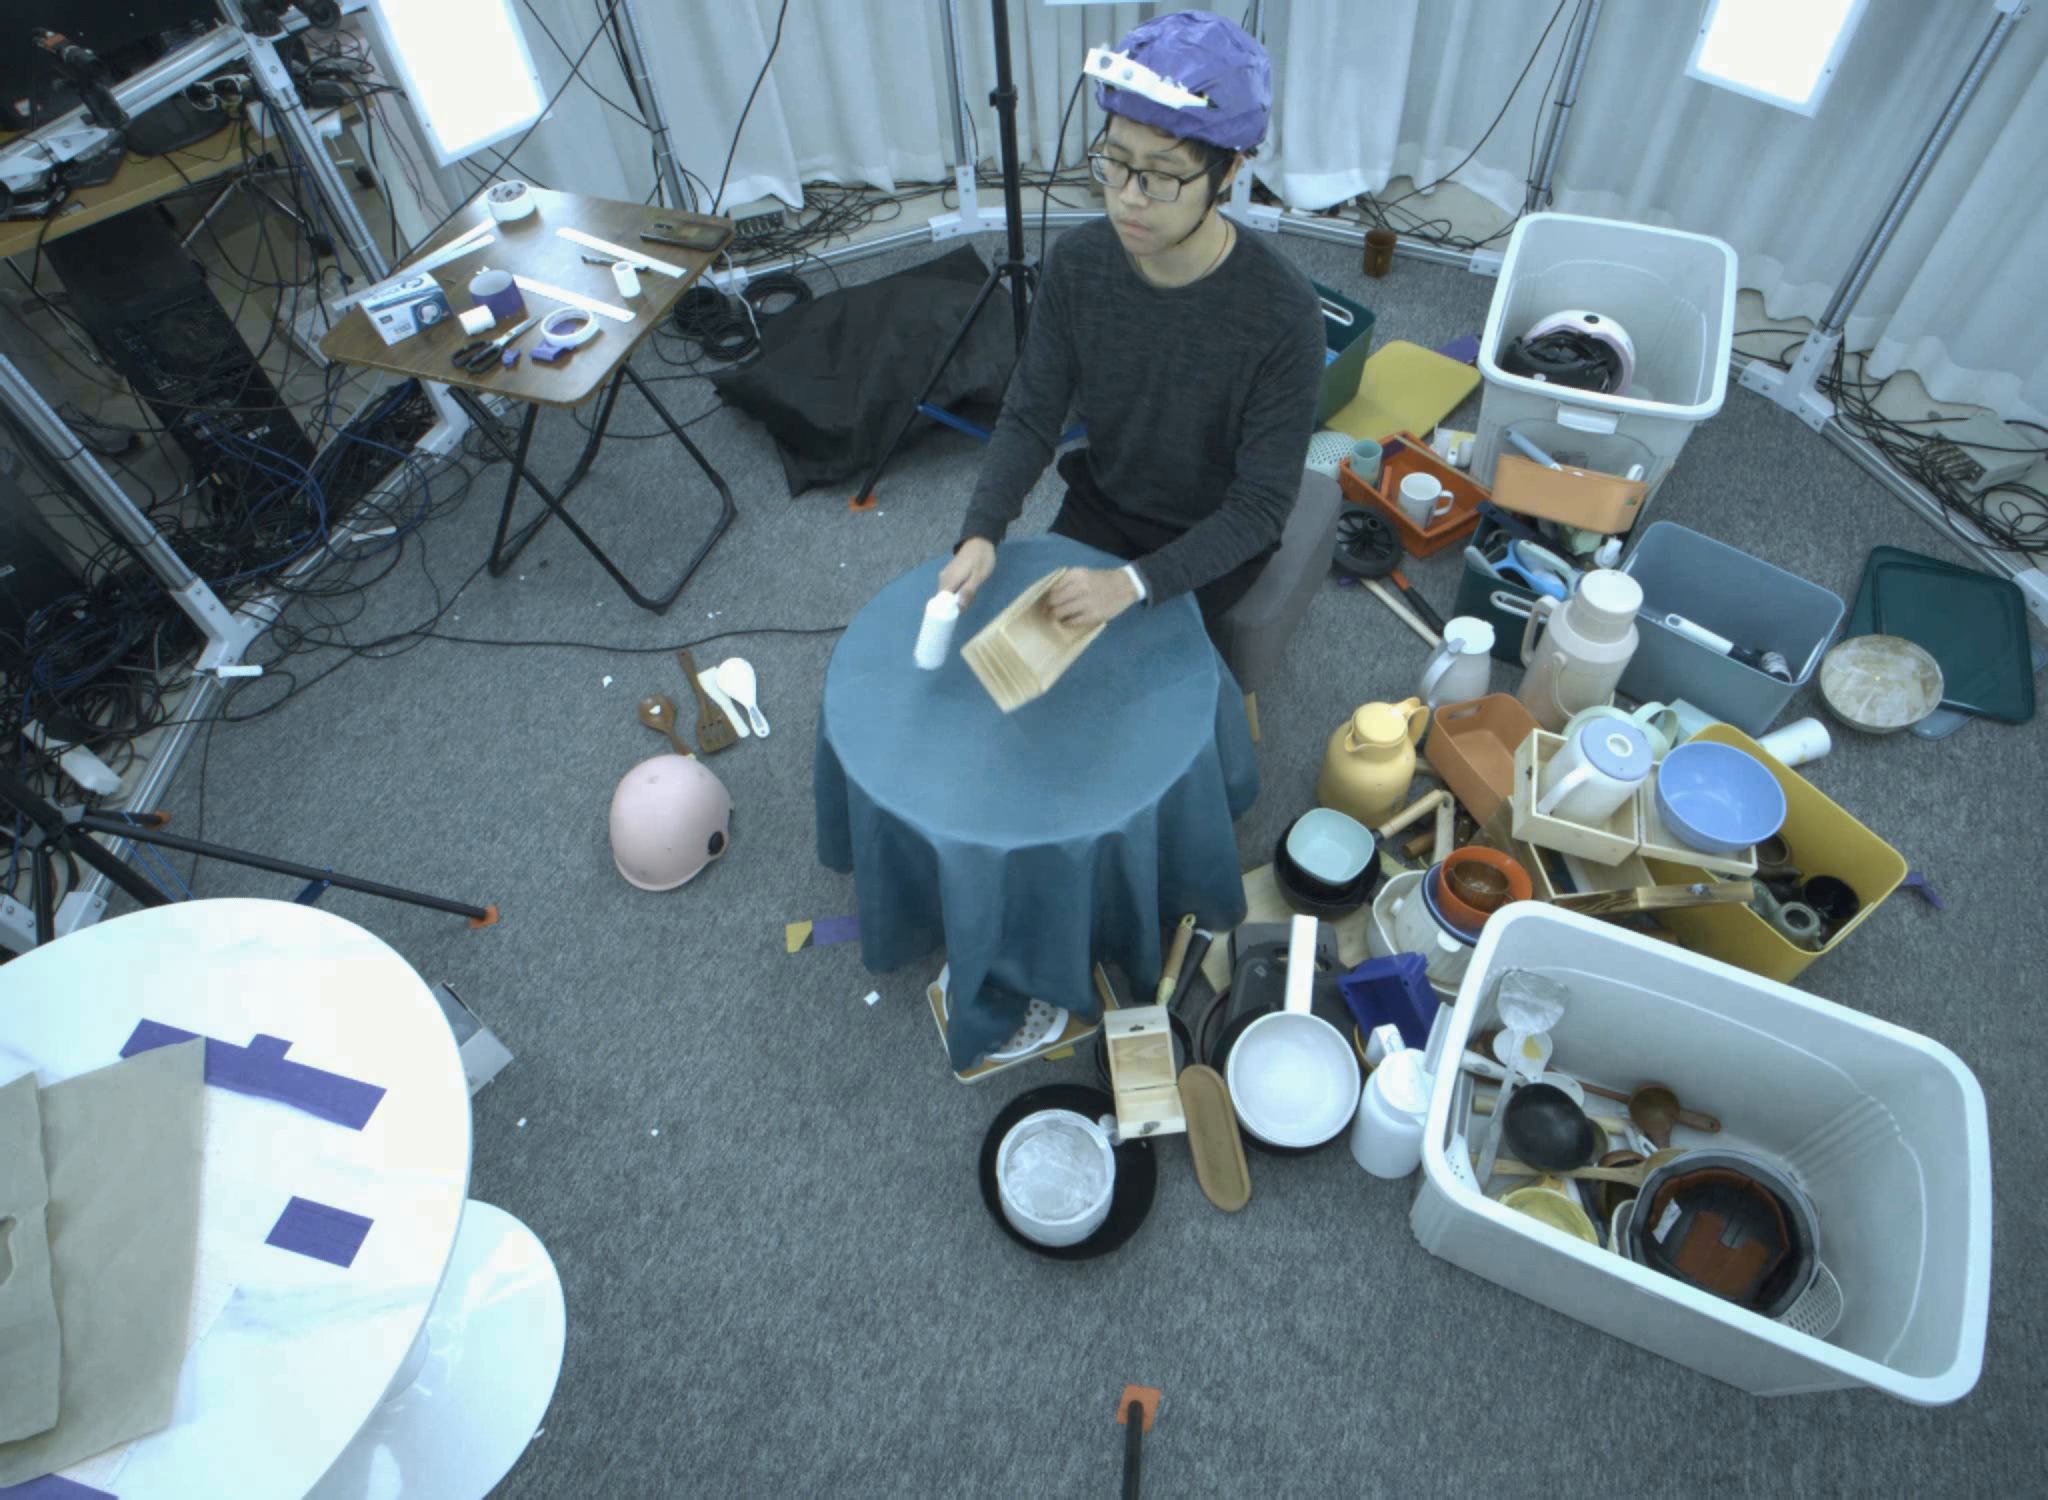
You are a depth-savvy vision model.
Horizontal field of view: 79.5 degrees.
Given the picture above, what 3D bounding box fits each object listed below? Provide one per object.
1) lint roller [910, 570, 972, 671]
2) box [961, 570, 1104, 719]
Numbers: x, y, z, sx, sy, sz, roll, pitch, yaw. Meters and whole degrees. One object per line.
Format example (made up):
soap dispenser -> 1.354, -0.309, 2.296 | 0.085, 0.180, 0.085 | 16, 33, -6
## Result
lint roller -> -0.120, -0.215, 1.835 | 0.050, 0.133, 0.180 | 20, 52, -7
box -> 0.014, -0.149, 1.717 | 0.108, 0.079, 0.212 | 53, 41, -13
